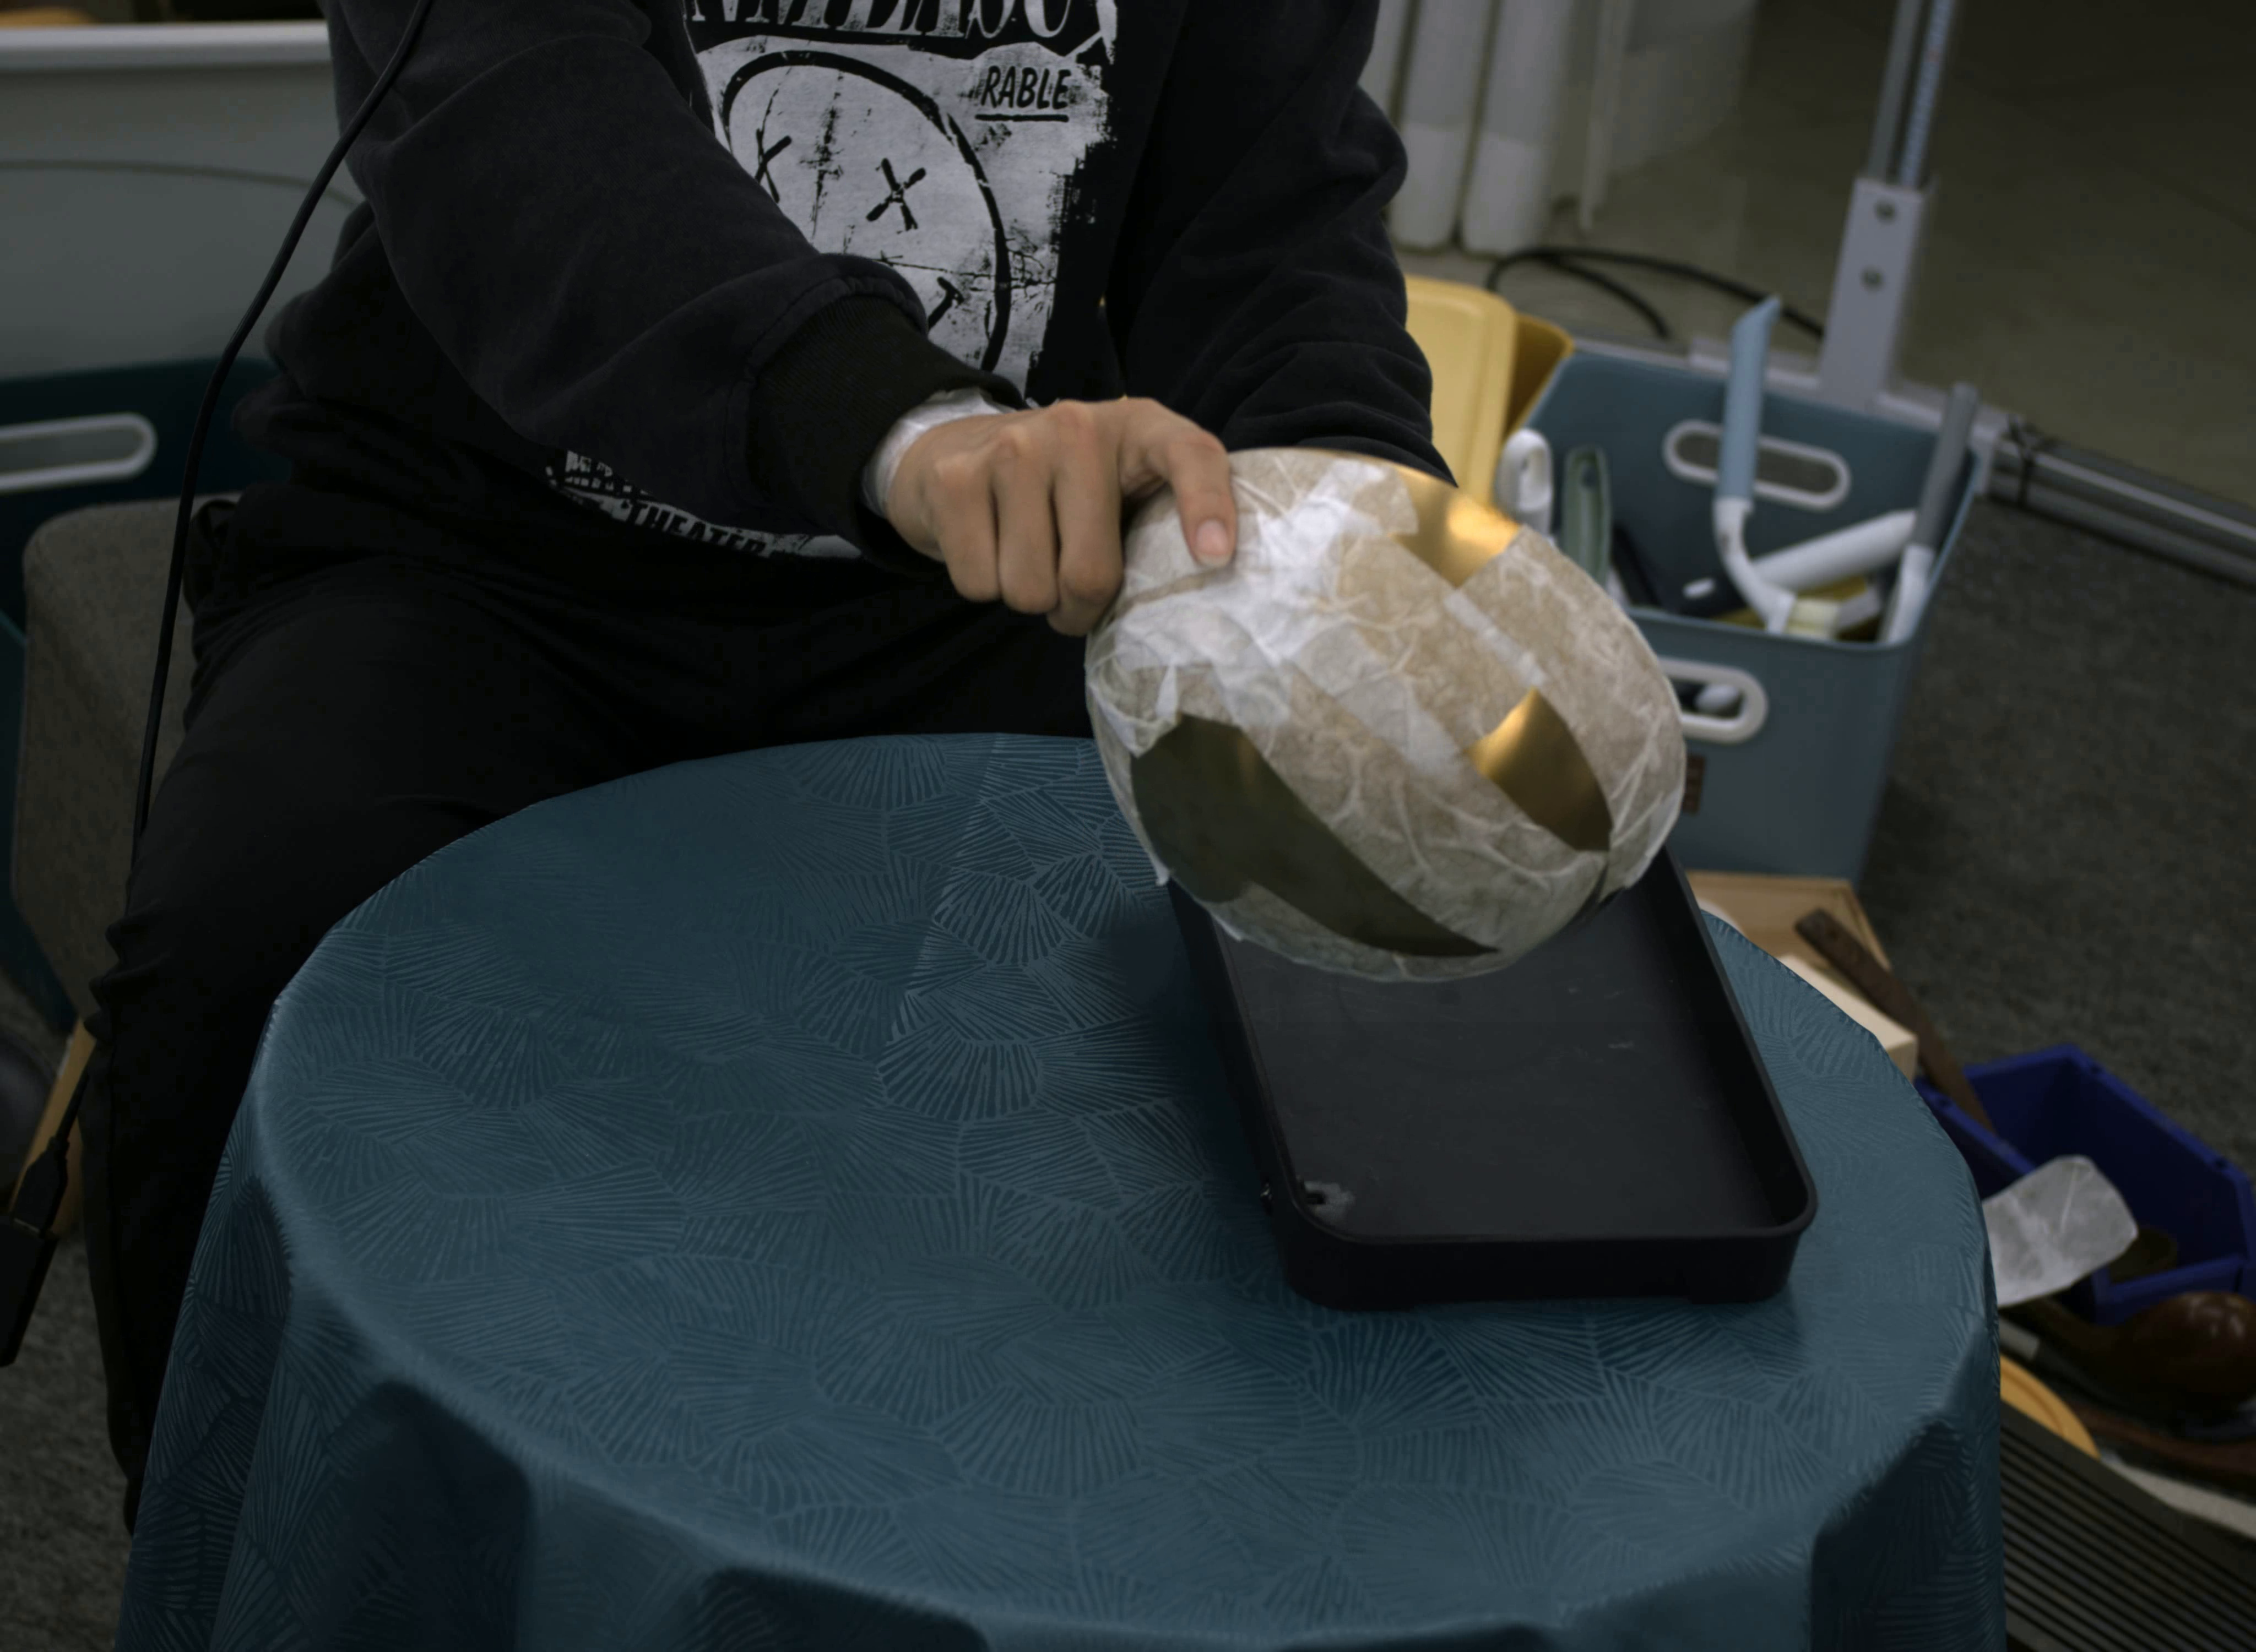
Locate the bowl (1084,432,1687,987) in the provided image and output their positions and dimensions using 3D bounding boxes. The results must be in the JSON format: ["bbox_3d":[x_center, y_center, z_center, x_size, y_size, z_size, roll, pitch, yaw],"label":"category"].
[{"bbox_3d":[0.065,-0.017,1.697,0.215,0.213,0.095,18,53,20],"label":"bowl"}]

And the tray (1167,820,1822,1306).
[{"bbox_3d":[0.117,0.050,1.869,0.183,0.037,0.321,-1,37,-11],"label":"tray"}]
